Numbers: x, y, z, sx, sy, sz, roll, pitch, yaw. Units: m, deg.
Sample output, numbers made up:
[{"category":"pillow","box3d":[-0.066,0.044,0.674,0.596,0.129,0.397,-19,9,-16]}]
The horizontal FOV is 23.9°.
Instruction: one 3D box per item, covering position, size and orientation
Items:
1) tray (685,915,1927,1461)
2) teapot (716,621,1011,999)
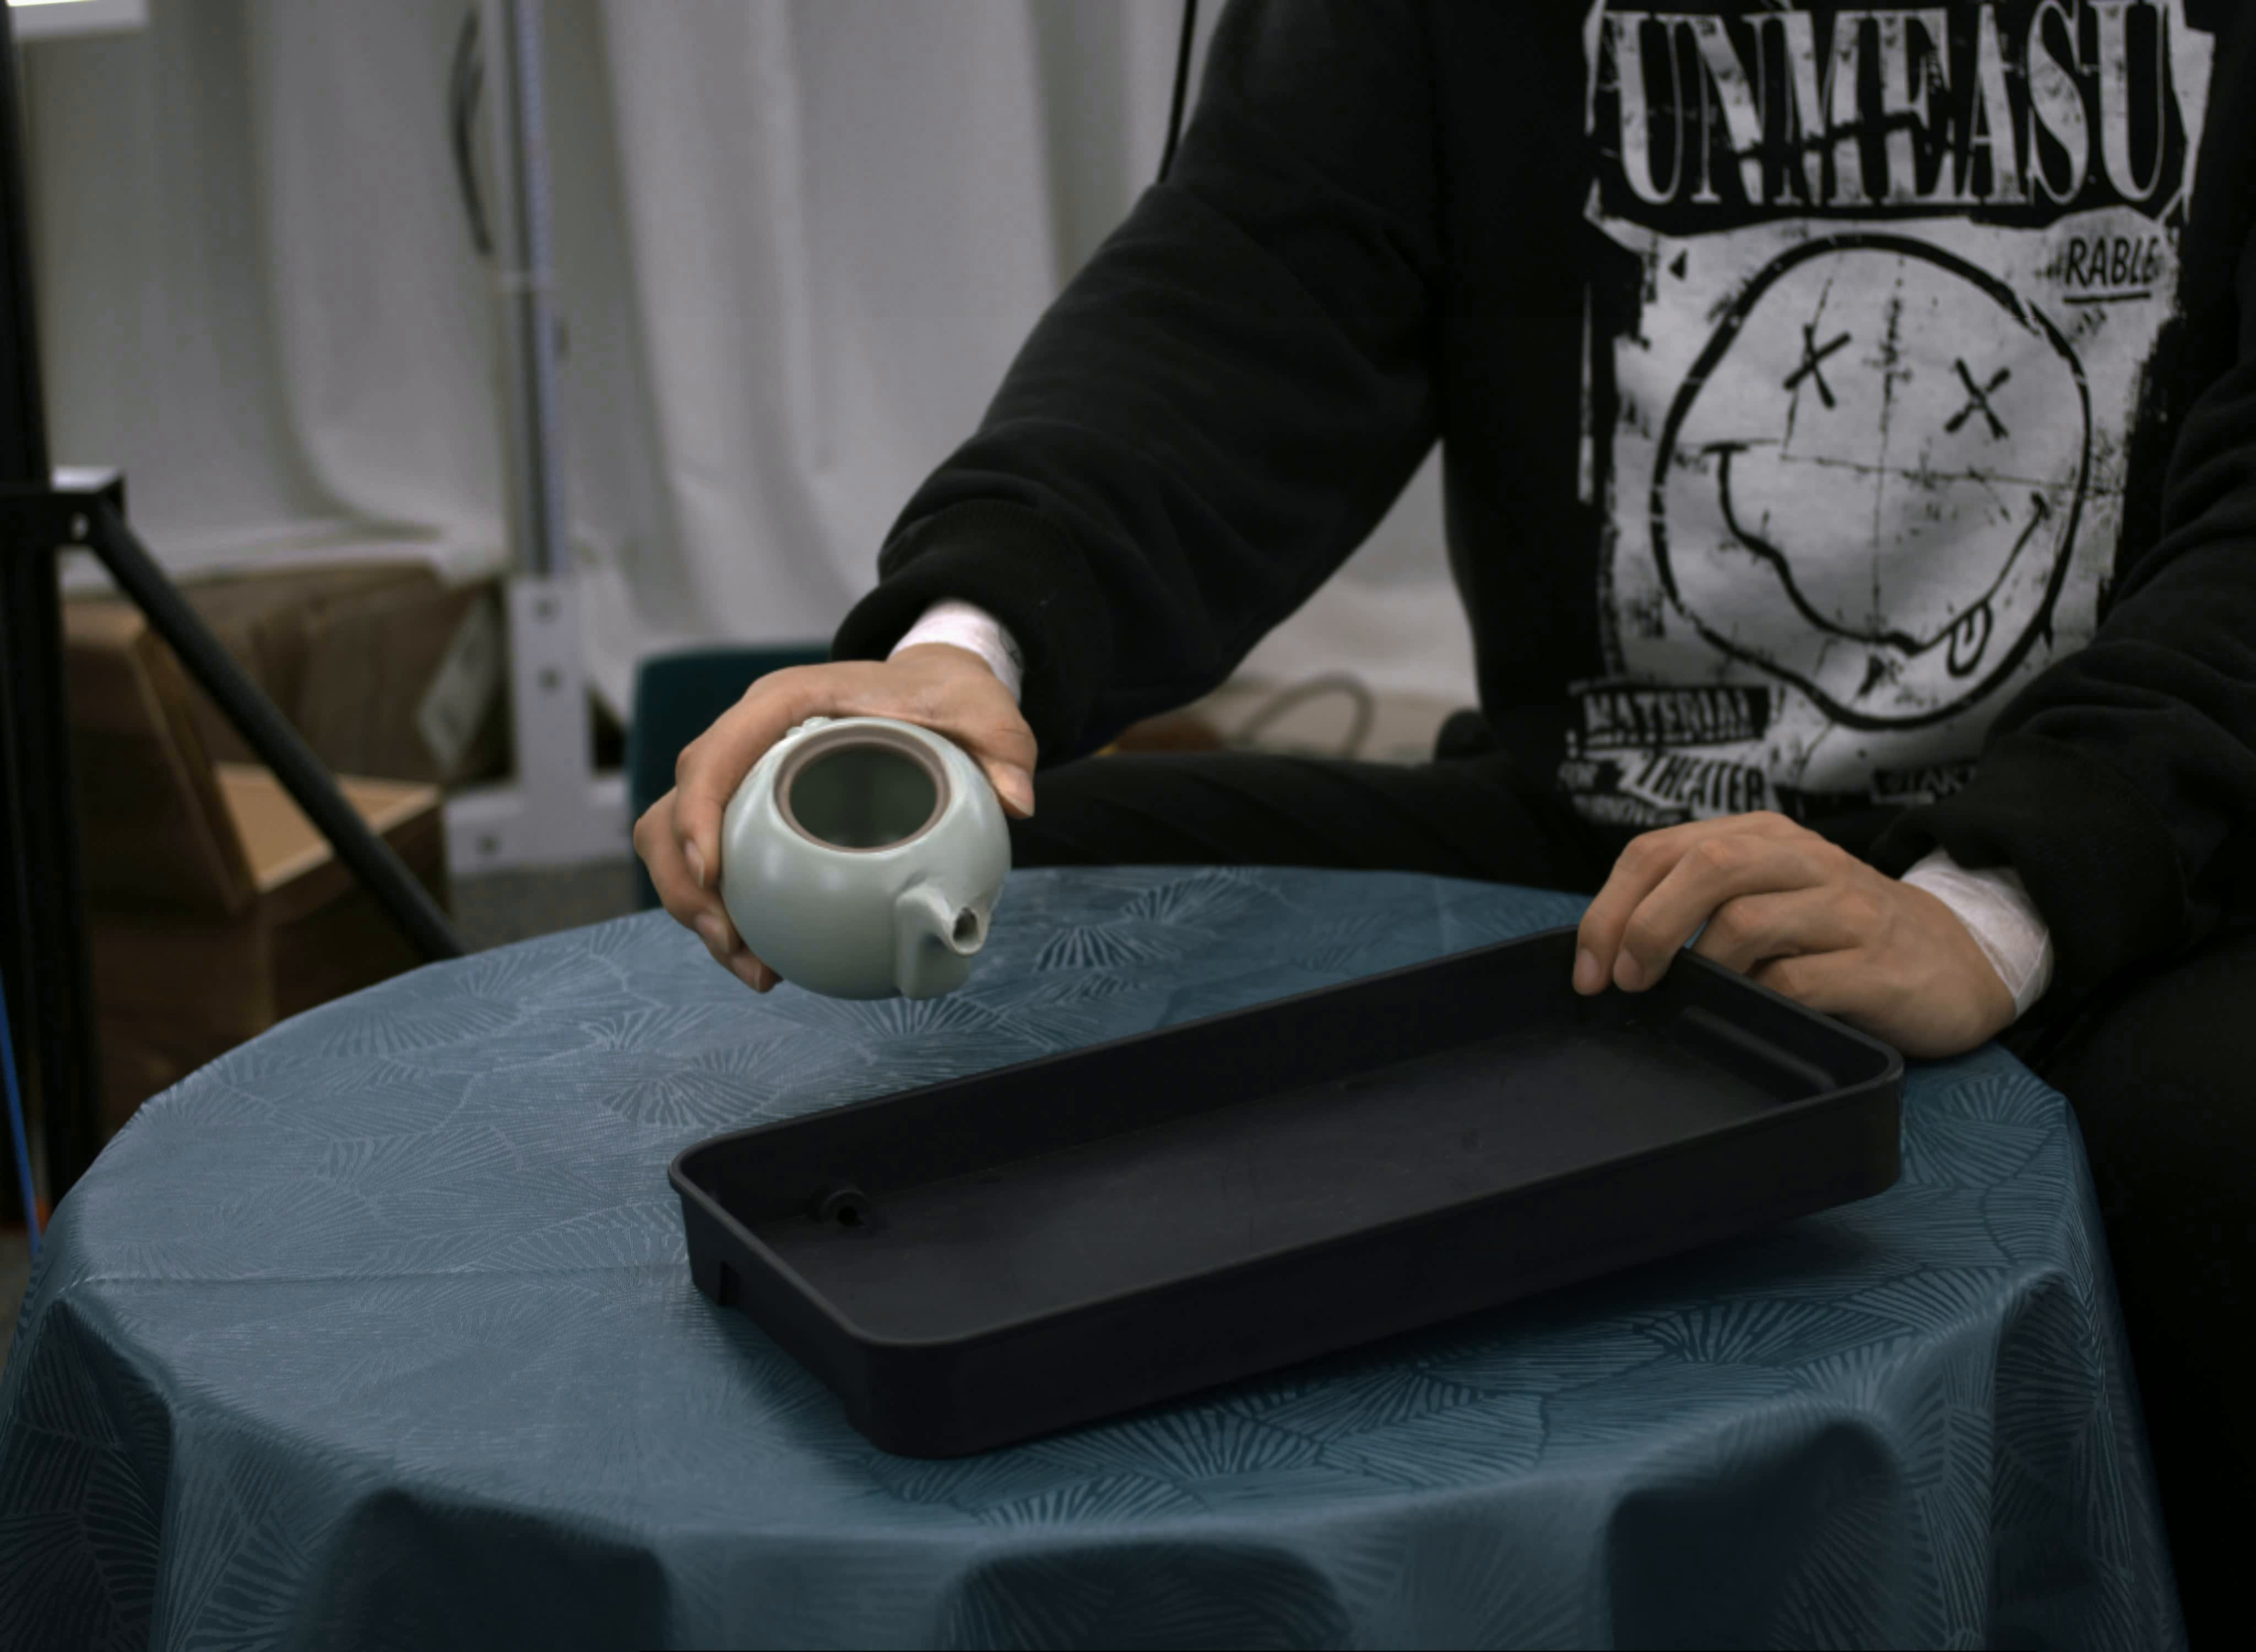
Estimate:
[{"category":"tray","box3d":[0.050,0.095,1.485,0.312,0.037,0.188,-14,18,-22]},{"category":"teapot","box3d":[-0.079,0.008,1.587,0.087,0.074,0.147,-19,51,-18]}]
